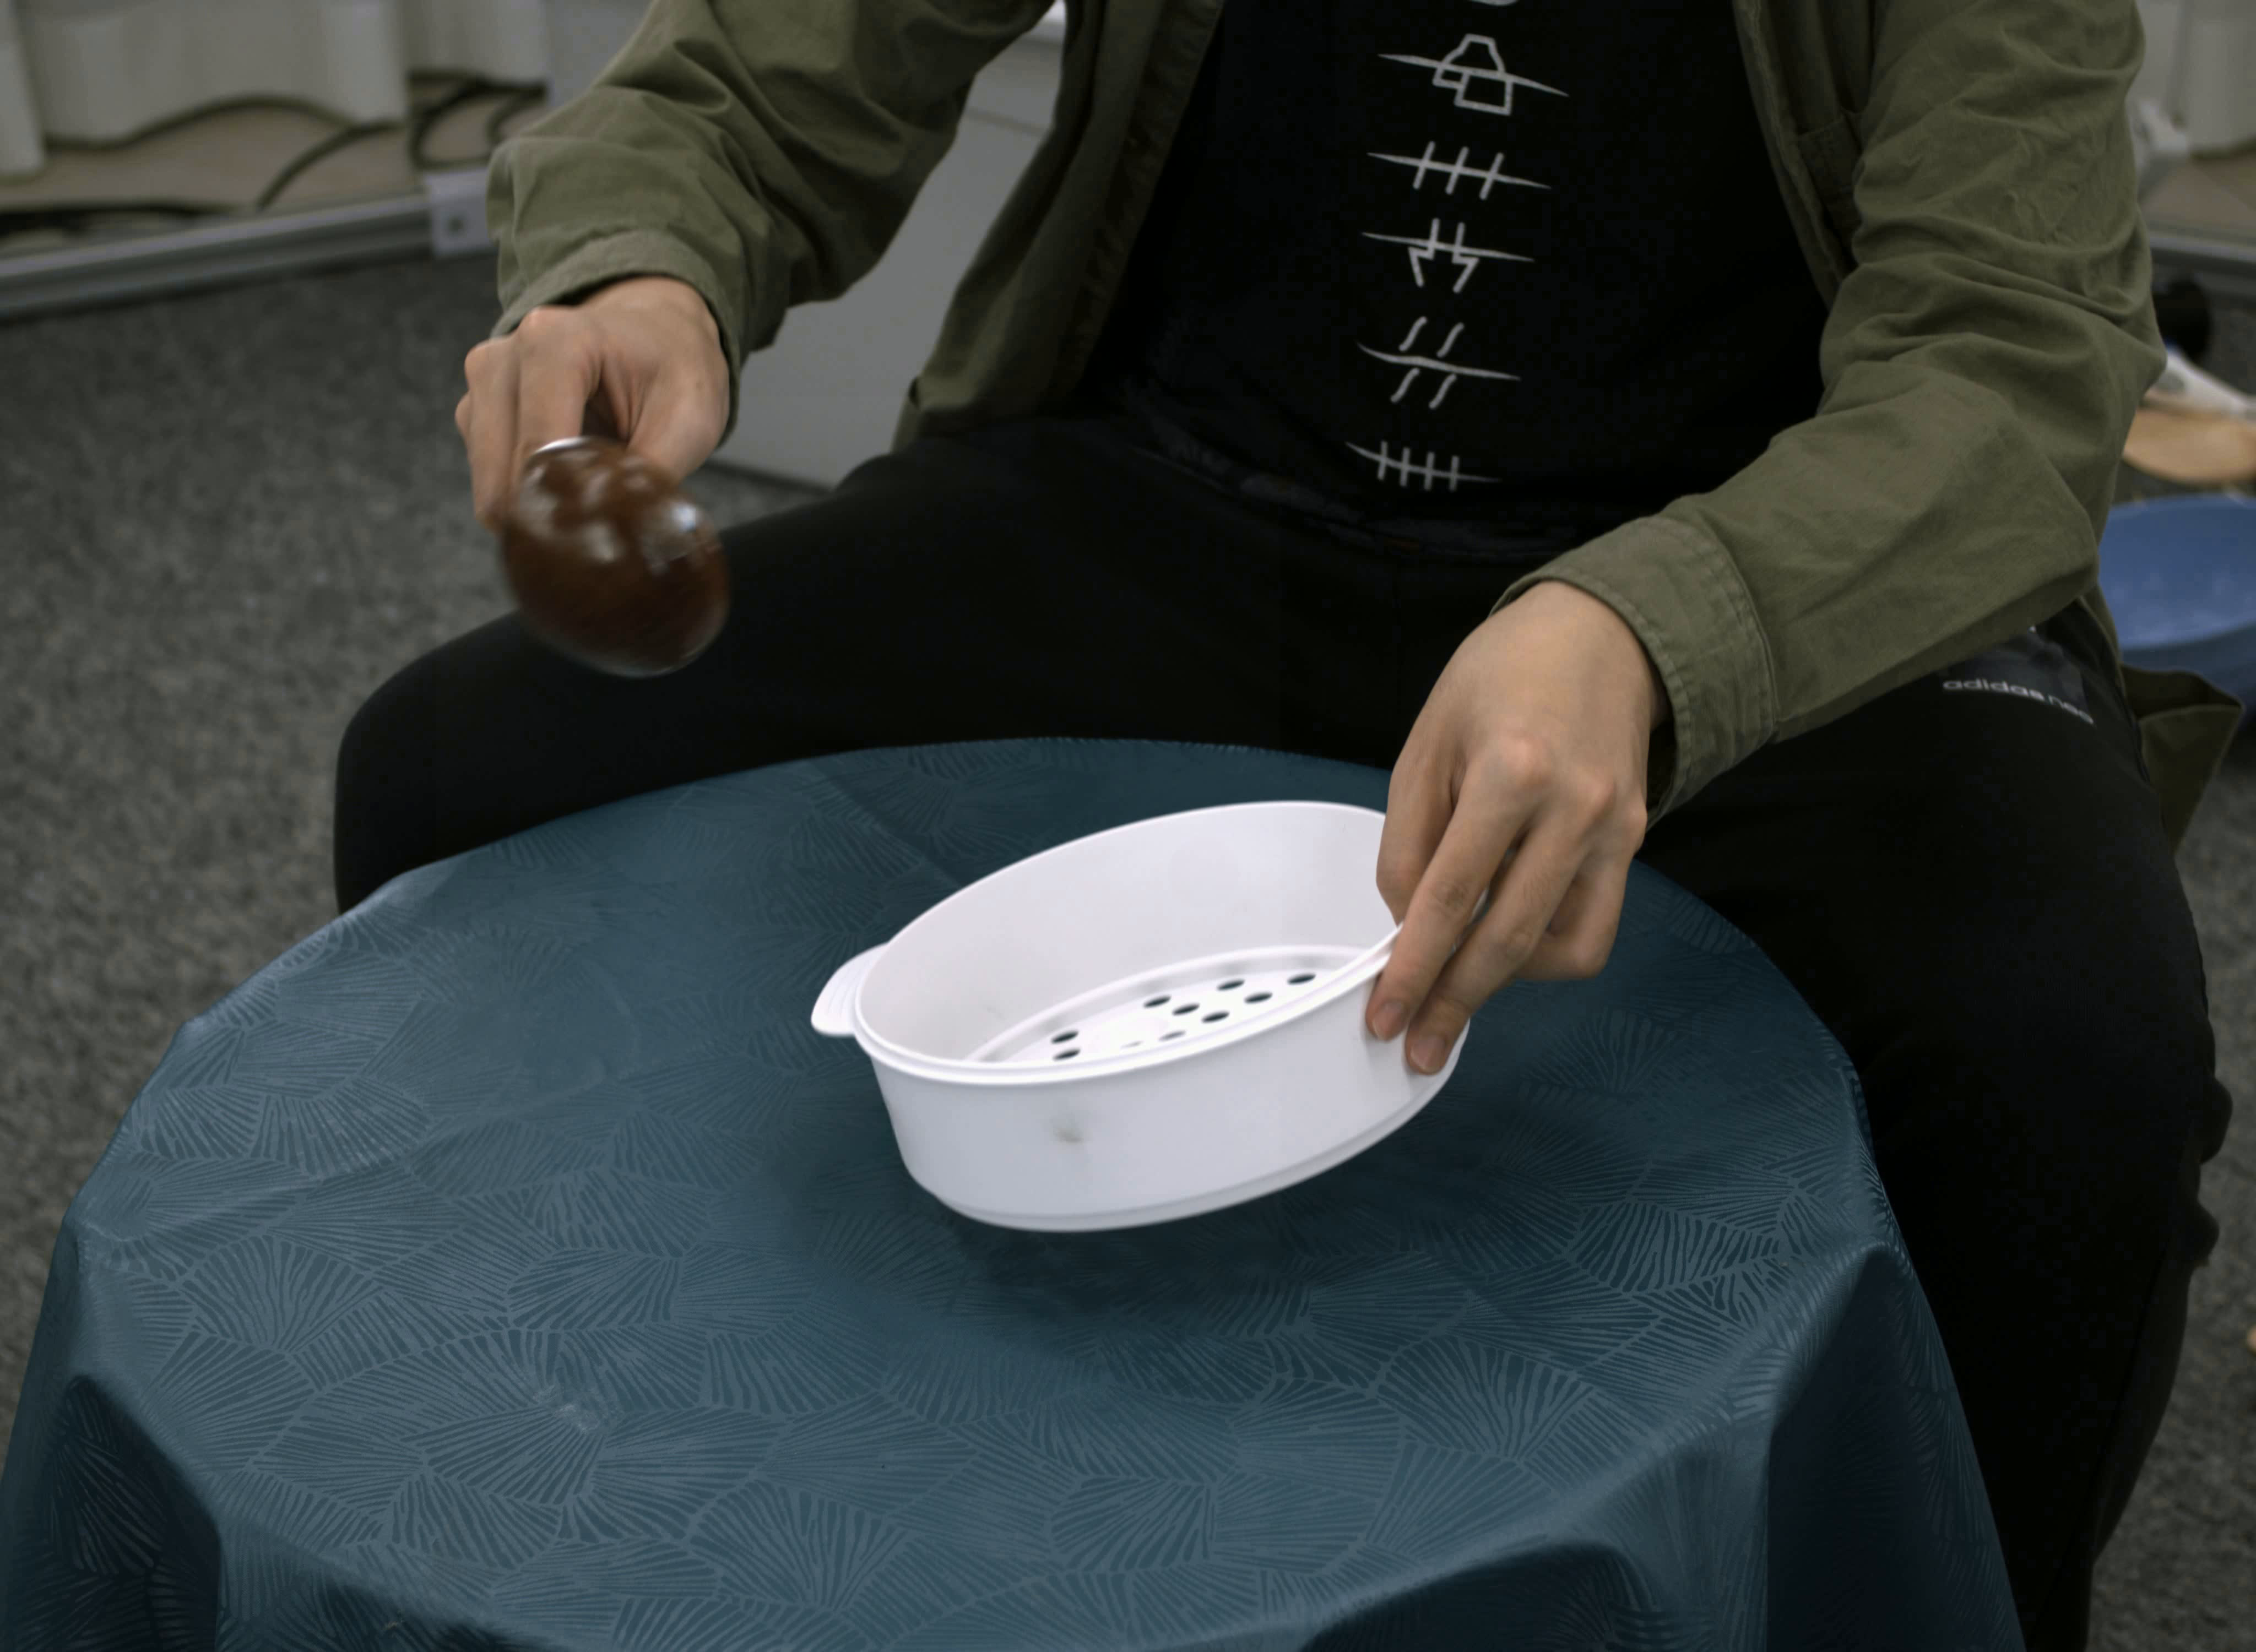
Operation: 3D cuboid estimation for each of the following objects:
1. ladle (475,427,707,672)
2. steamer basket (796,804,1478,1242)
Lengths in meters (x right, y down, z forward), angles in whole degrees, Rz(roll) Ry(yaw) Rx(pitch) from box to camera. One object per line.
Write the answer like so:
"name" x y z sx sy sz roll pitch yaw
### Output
"ladle" -0.163 -0.104 1.845 0.076 0.082 0.276 -32 8 9
"steamer basket" 0.009 0.065 1.840 0.228 0.069 0.205 -9 21 15
